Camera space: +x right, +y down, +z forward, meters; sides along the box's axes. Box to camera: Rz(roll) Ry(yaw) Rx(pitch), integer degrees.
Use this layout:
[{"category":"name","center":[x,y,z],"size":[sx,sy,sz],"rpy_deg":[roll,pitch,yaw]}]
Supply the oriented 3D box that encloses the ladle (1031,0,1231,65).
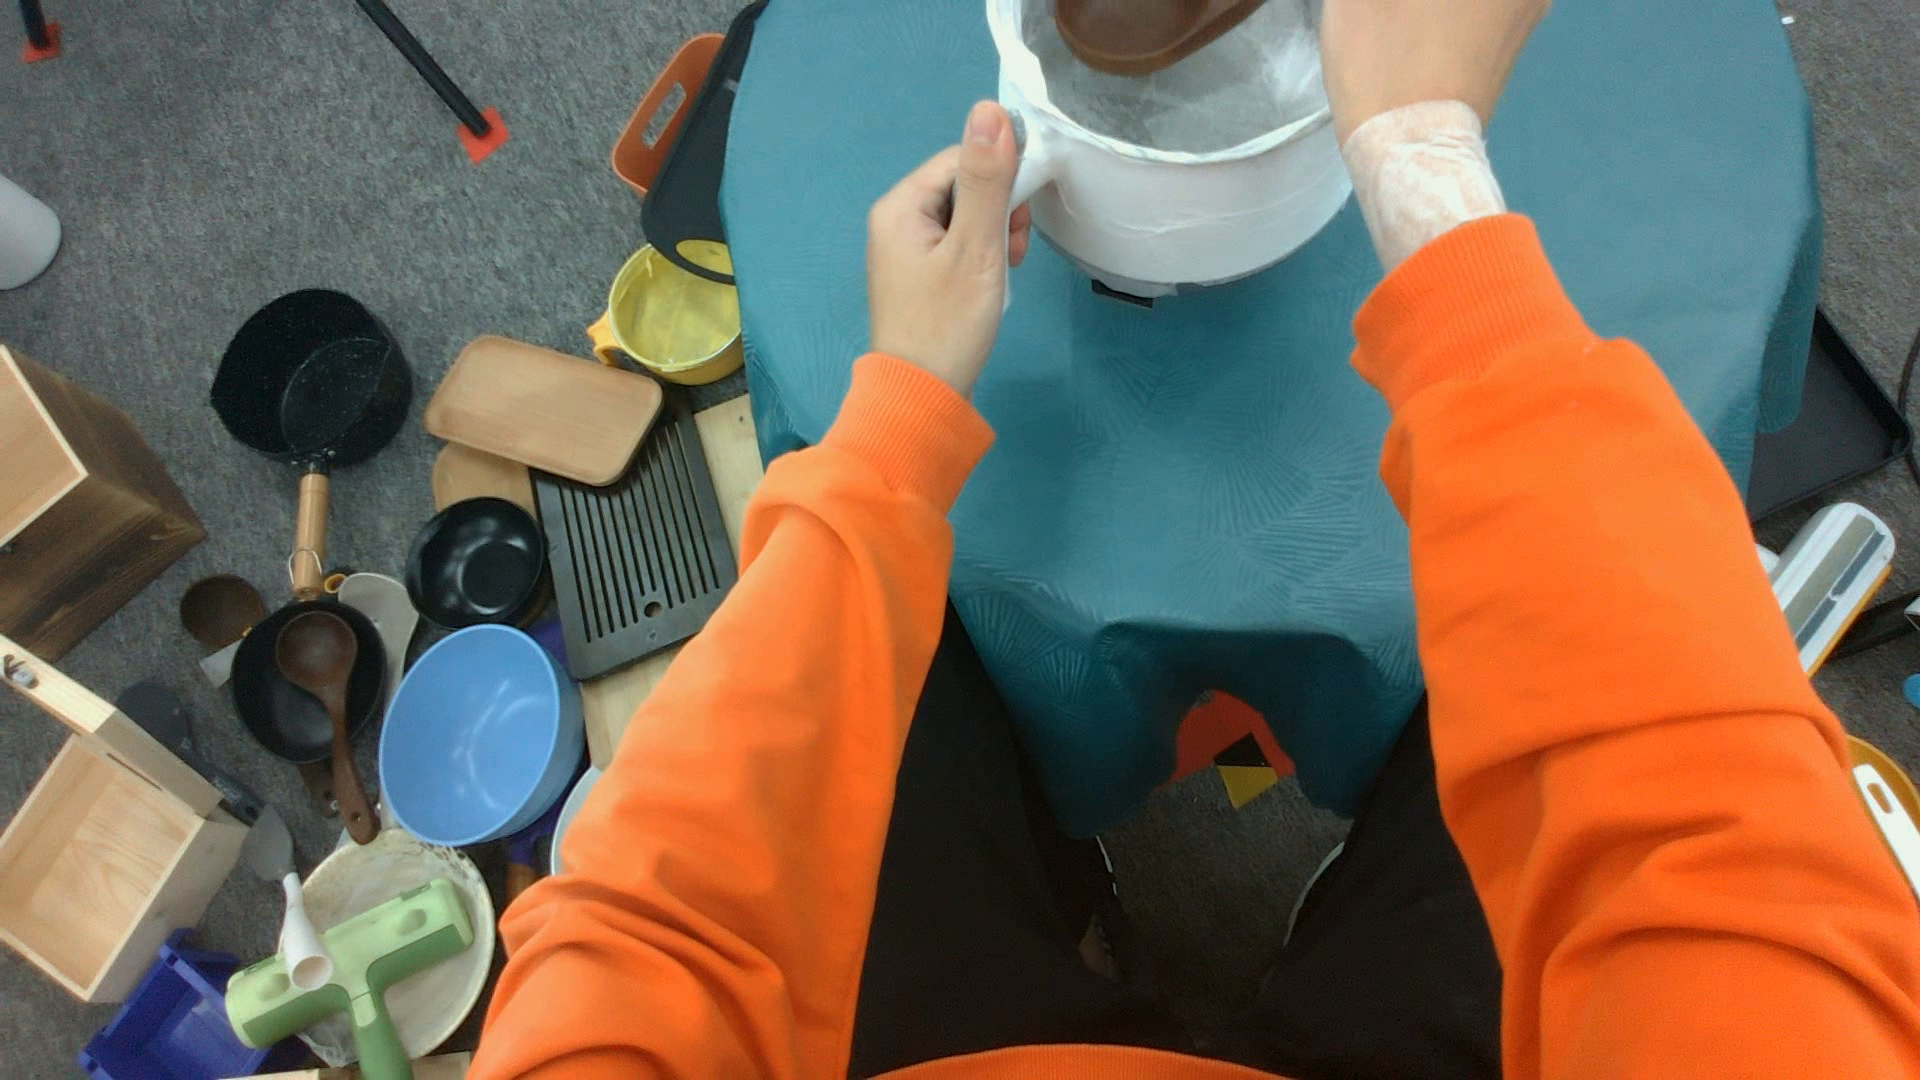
[{"category":"ladle","center":[0.130,-0.259,0.547],"size":[0.259,0.065,0.077],"rpy_deg":[-10,64,51]}]

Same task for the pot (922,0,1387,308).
[{"category":"pot","center":[0.077,-0.205,0.639],"size":[0.234,0.136,0.179],"rpy_deg":[-41,72,-9]}]
